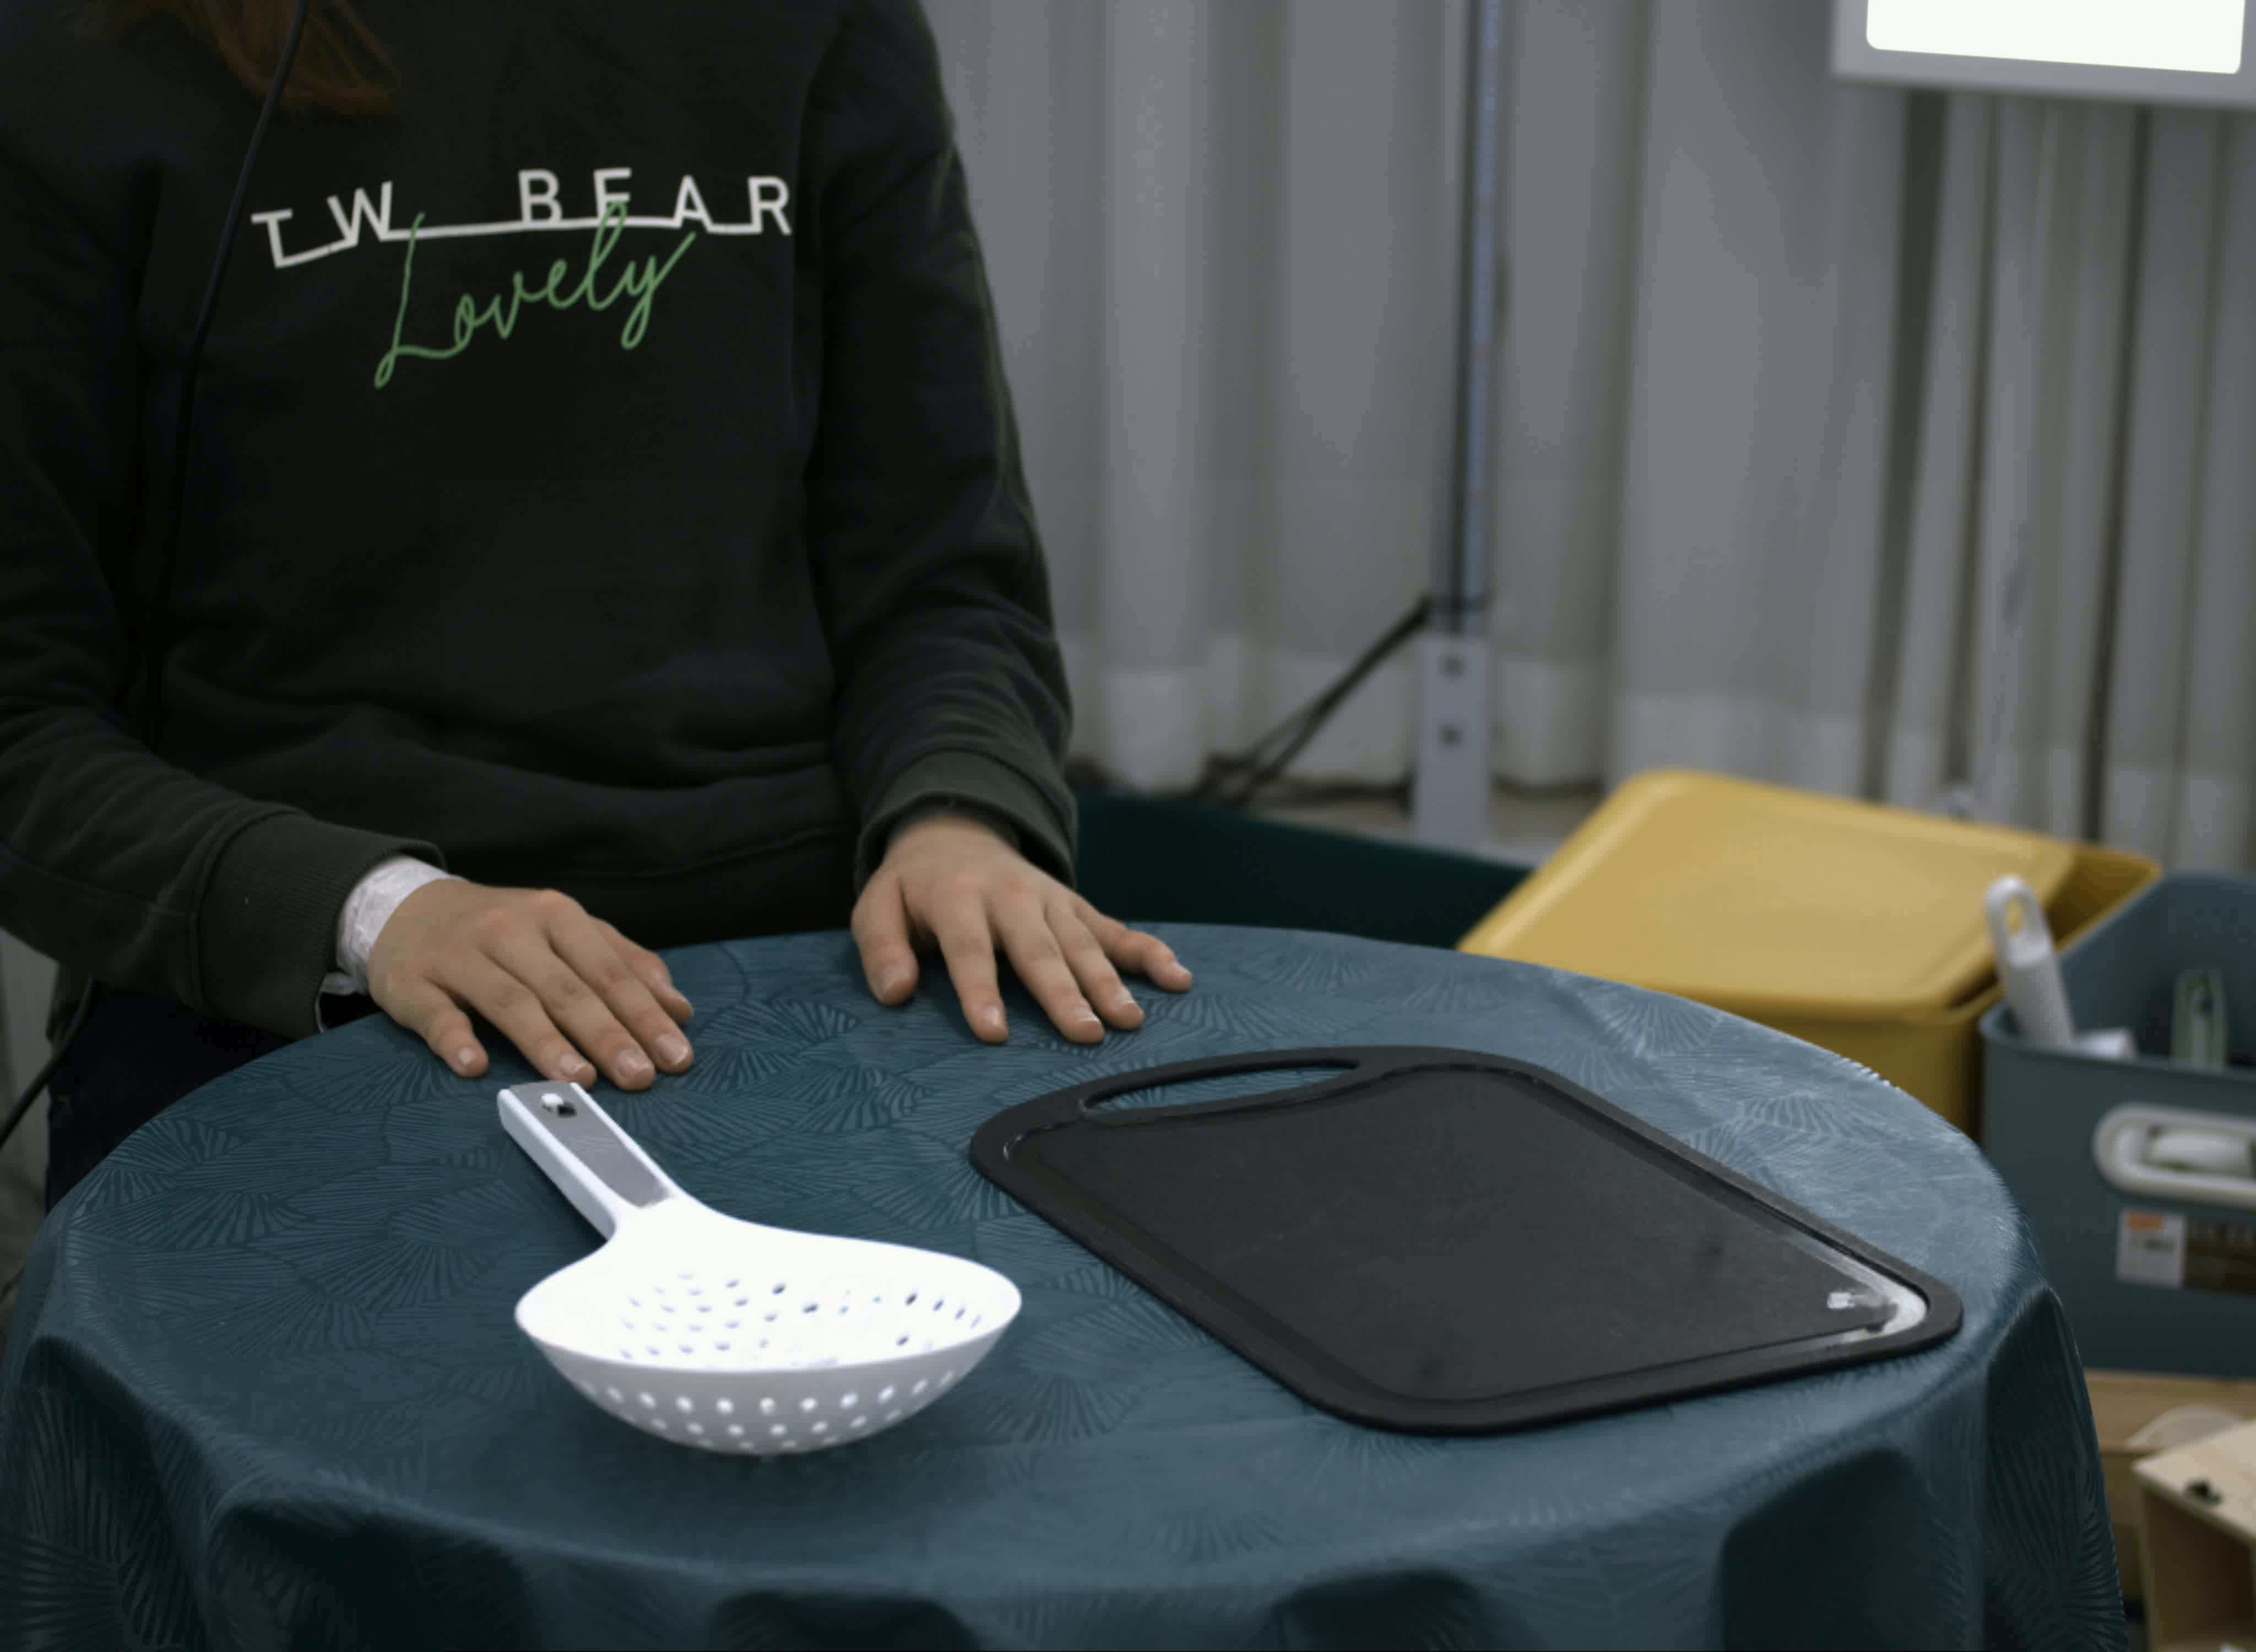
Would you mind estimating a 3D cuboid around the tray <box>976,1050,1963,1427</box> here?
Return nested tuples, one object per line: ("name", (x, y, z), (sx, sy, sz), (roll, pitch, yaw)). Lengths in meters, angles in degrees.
("tray", (0.092, 0.117, 1.601), (0.212, 0.010, 0.321), (-7, 17, -26))

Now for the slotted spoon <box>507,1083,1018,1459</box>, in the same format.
("slotted spoon", (-0.132, 0.118, 1.517), (0.136, 0.046, 0.346), (-2, 15, -19))
